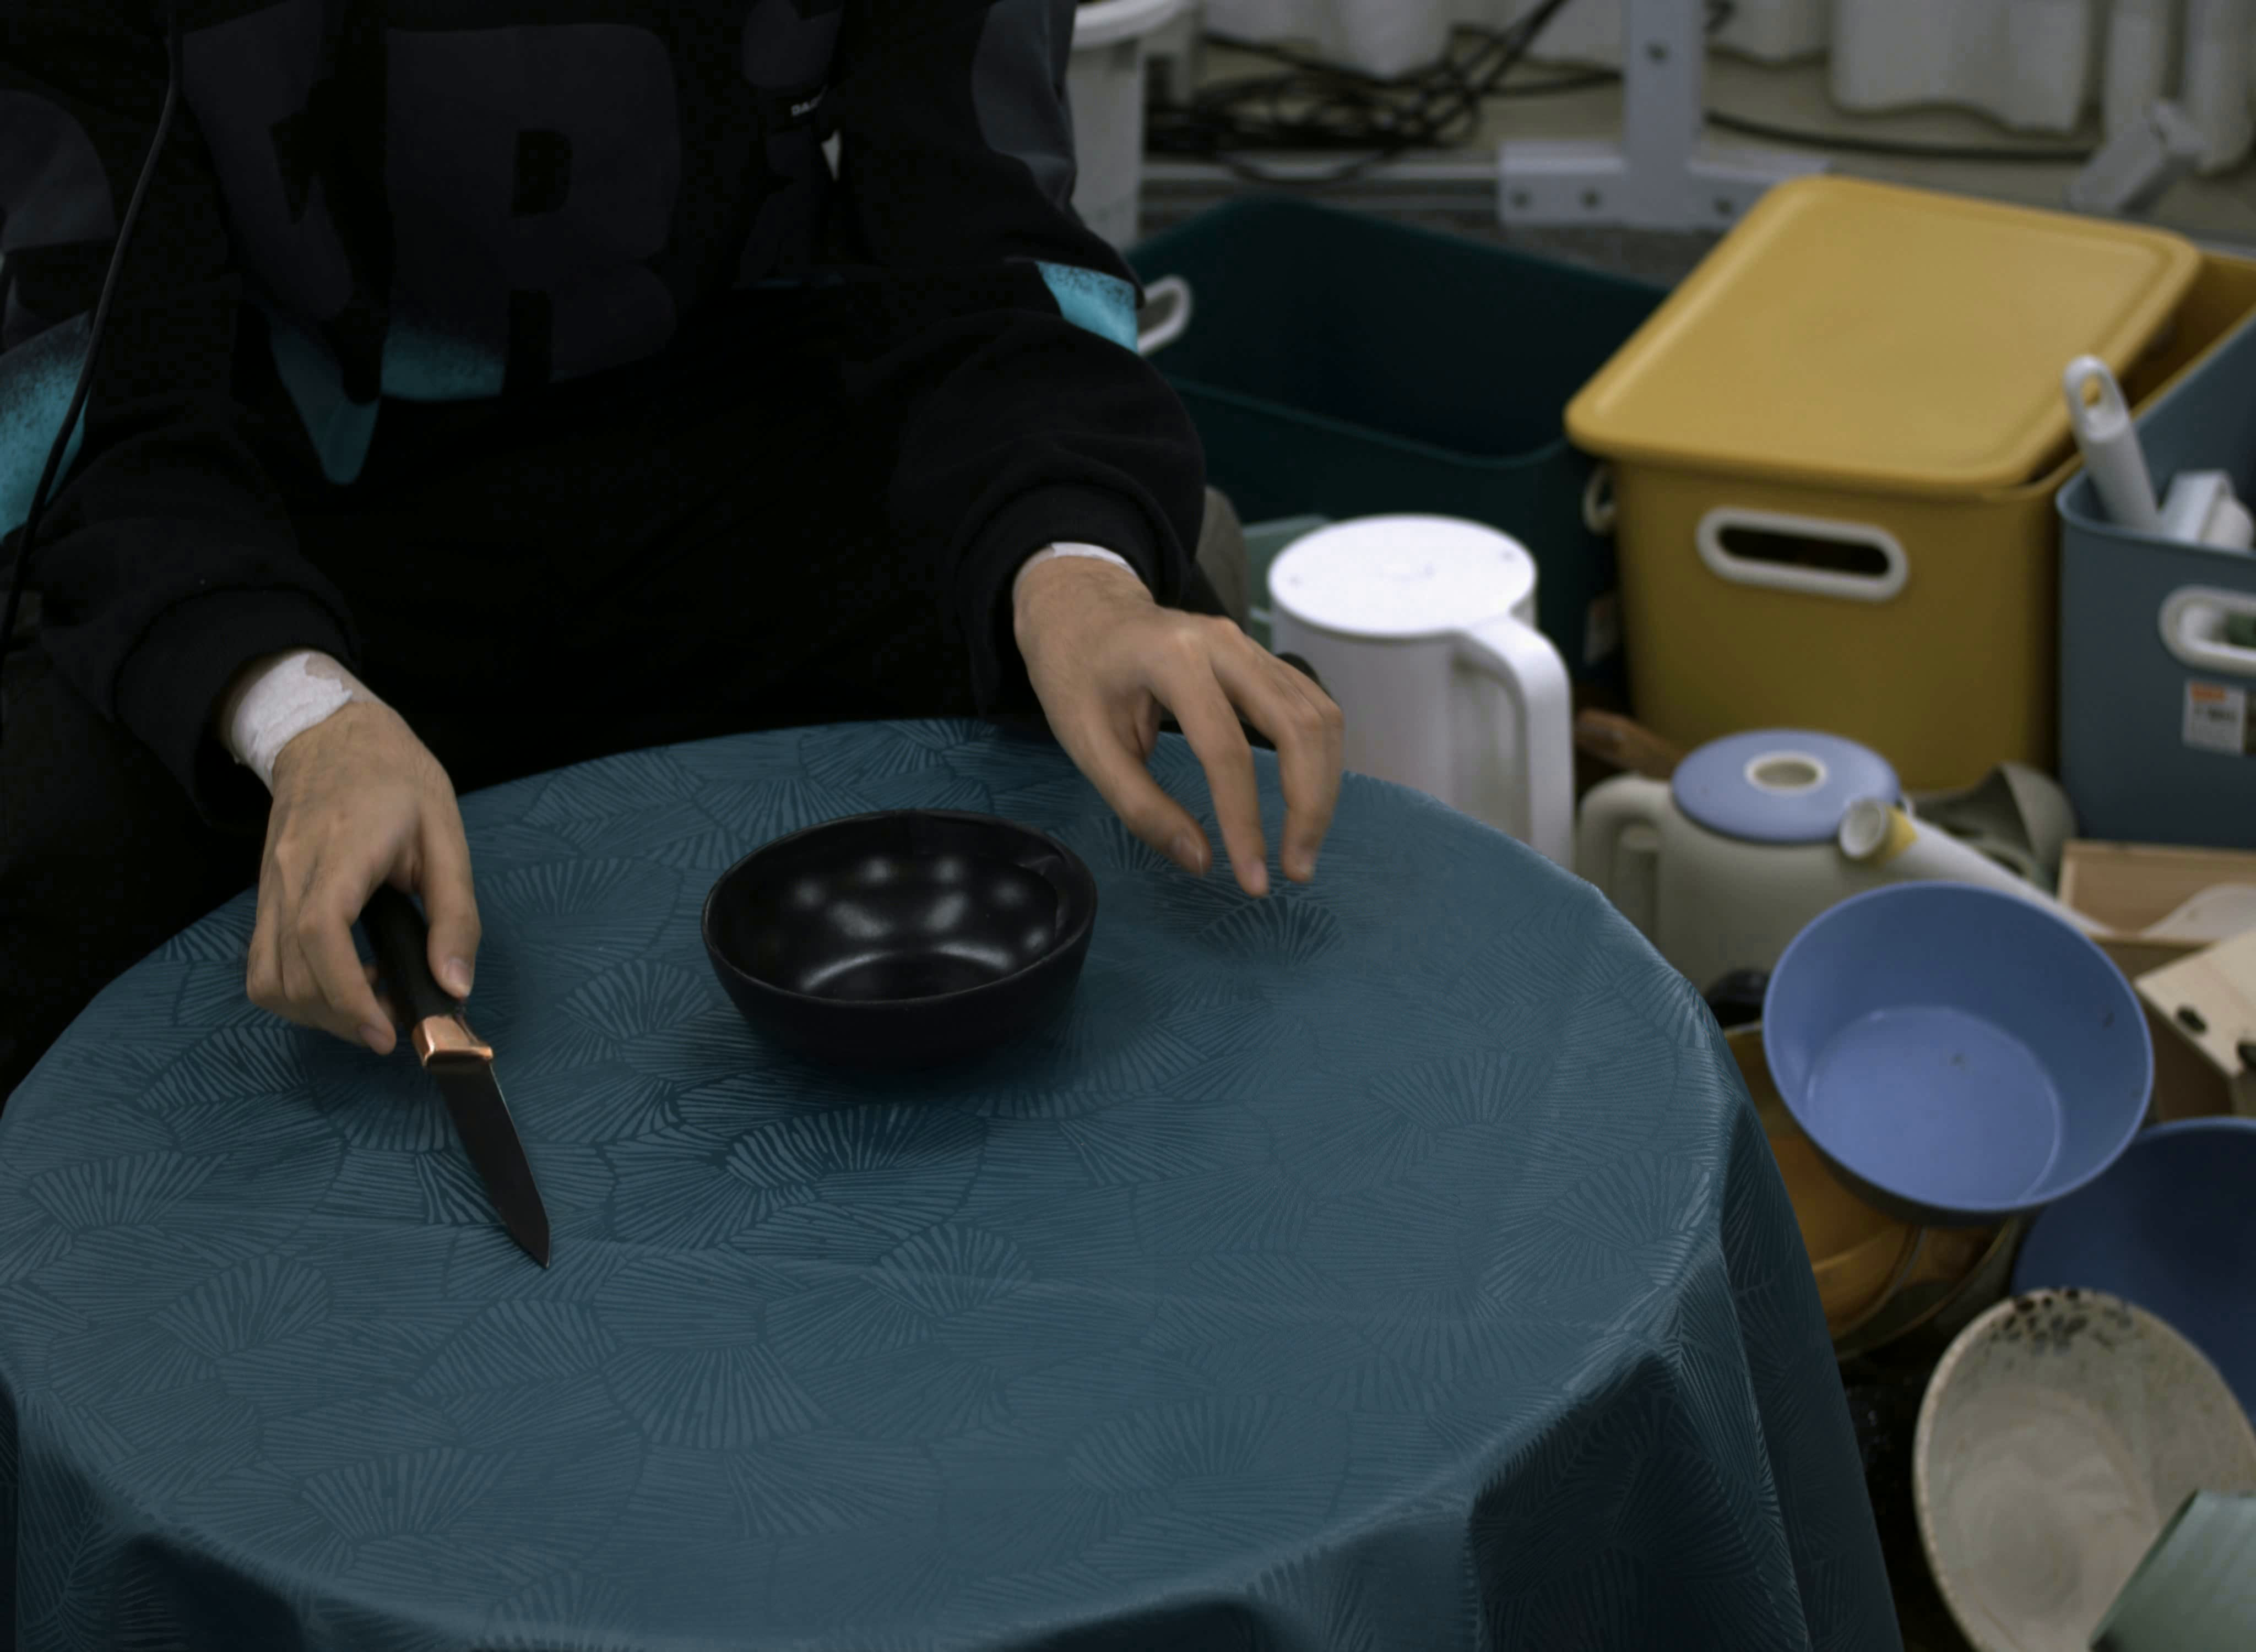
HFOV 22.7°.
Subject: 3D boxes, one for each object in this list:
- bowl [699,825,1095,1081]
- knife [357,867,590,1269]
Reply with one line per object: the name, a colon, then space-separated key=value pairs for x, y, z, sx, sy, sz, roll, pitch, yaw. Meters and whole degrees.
bowl: x=-0.078 y=0.051 z=1.959 sx=0.139 sy=0.049 sz=0.142 roll=-5 pitch=24 yaw=3
knife: x=-0.226 y=0.082 z=1.919 sx=0.026 sy=0.017 sz=0.228 roll=1 pitch=33 yaw=-27
